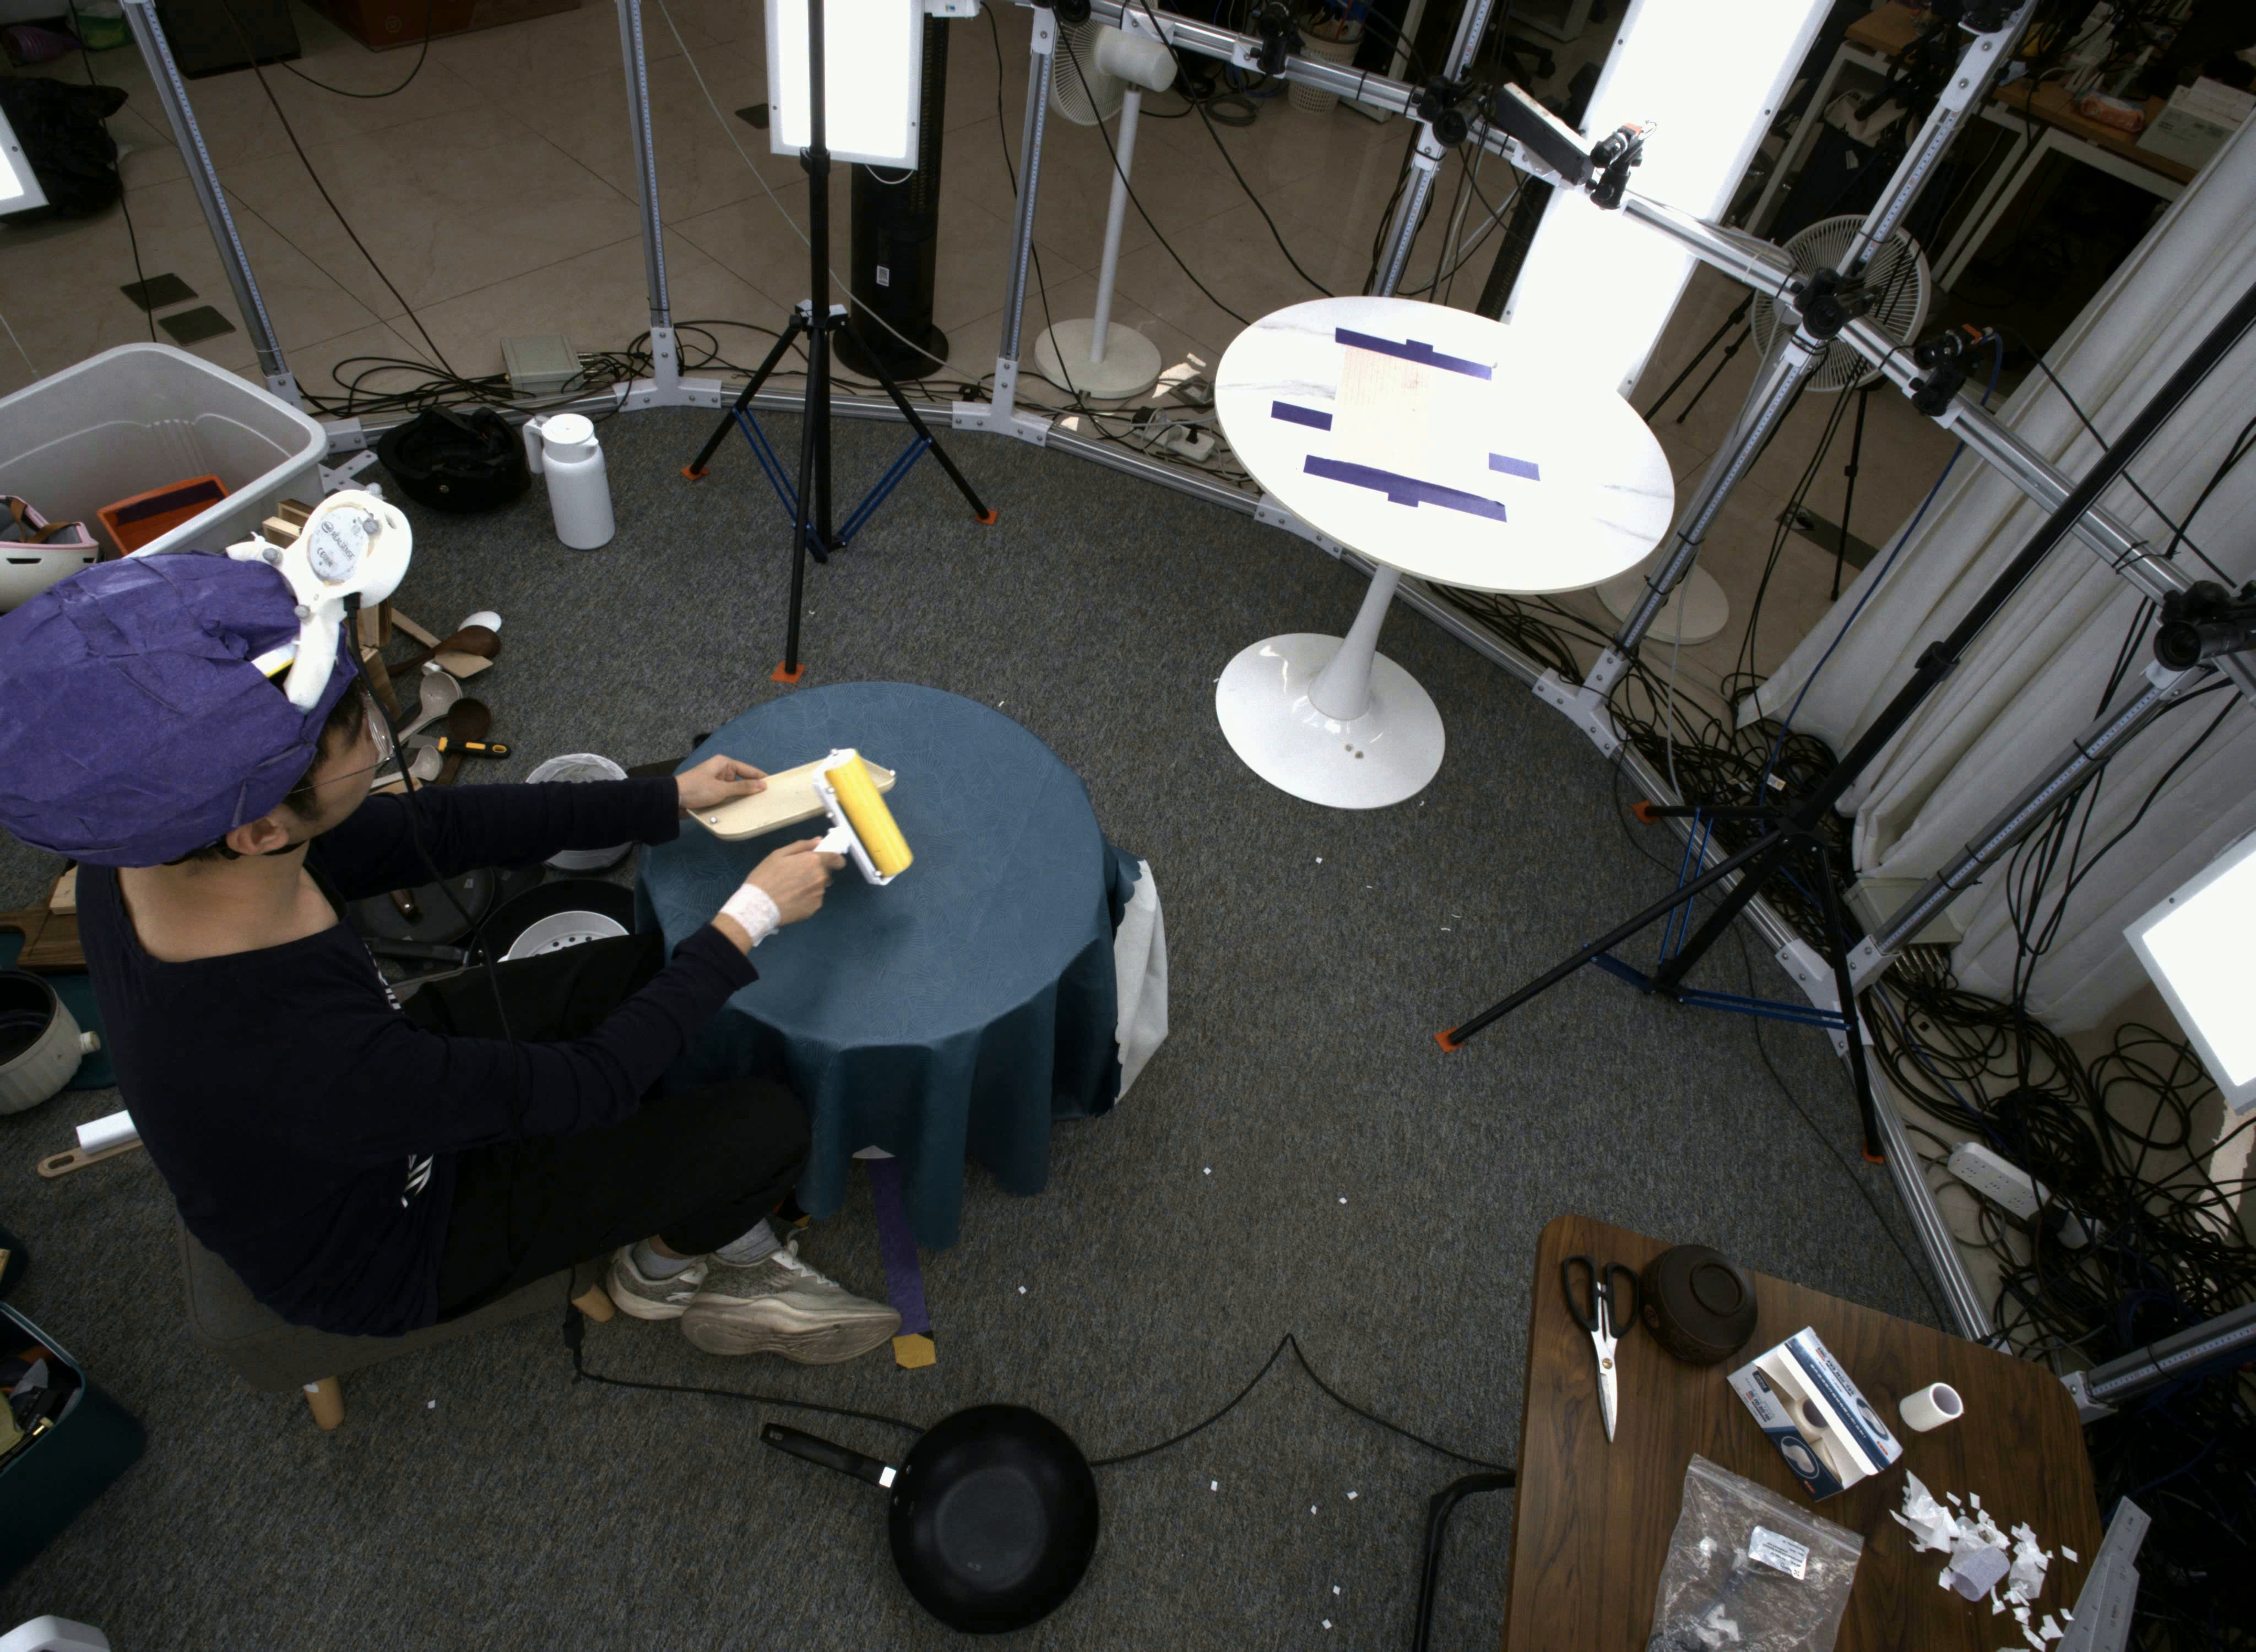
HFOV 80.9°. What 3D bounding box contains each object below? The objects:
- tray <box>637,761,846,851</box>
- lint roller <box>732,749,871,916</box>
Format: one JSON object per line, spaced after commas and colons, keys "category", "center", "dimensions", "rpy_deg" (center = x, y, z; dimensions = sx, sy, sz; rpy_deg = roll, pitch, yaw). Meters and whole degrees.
{"category": "tray", "center": [-0.483, -0.029, 1.617], "dimensions": [0.241, 0.018, 0.165], "rpy_deg": [-24, 26, -33]}
{"category": "lint roller", "center": [-0.398, 0.032, 1.528], "dimensions": [0.050, 0.181, 0.190], "rpy_deg": [-6, 37, 29]}
